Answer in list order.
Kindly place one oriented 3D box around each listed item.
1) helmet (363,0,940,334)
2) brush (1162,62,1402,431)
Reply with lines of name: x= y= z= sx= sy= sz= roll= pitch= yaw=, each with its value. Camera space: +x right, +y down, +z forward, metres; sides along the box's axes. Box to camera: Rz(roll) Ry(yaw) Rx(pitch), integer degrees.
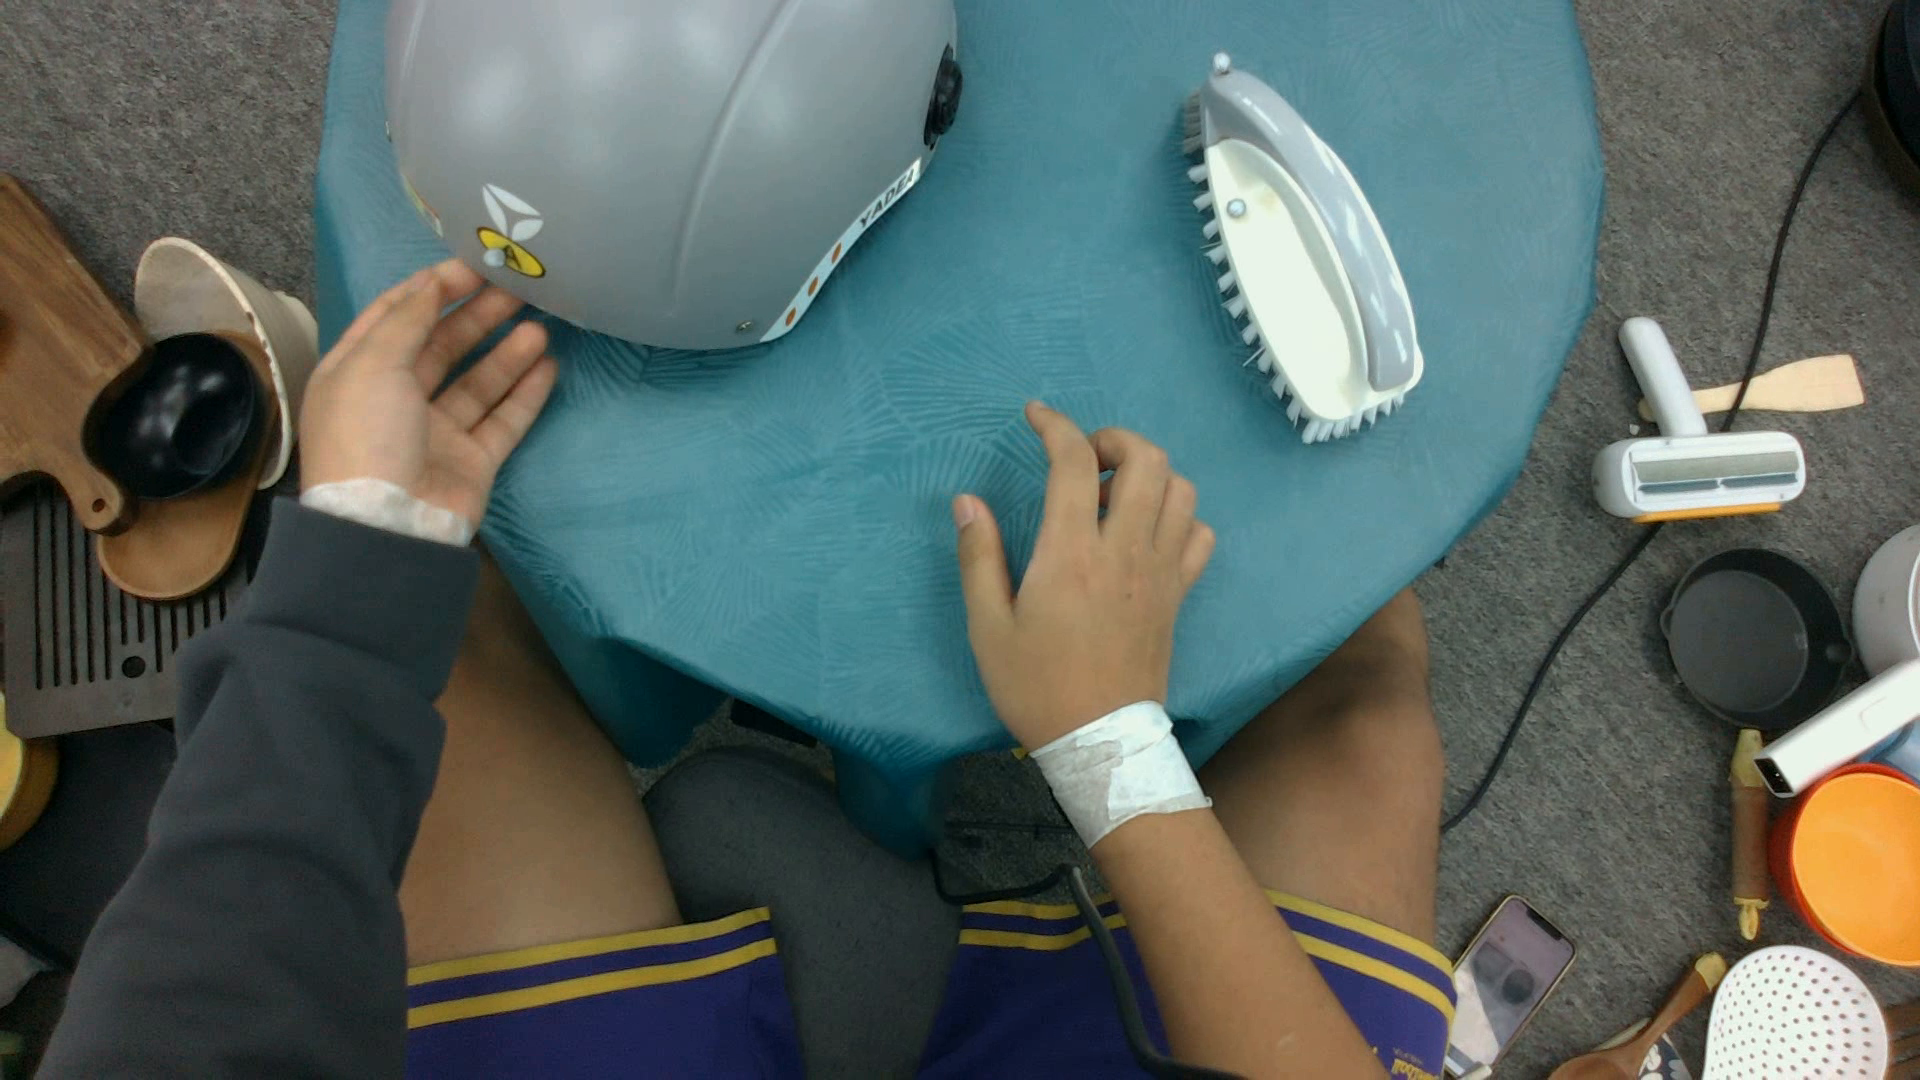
helmet: x=-0.120 y=-0.231 z=0.561 sx=0.232 sy=0.168 sz=0.277 roll=29 pitch=77 yaw=-3
brush: x=0.138 y=-0.141 z=0.600 sx=0.061 sy=0.094 sz=0.175 roll=-23 pitch=79 yaw=-10
